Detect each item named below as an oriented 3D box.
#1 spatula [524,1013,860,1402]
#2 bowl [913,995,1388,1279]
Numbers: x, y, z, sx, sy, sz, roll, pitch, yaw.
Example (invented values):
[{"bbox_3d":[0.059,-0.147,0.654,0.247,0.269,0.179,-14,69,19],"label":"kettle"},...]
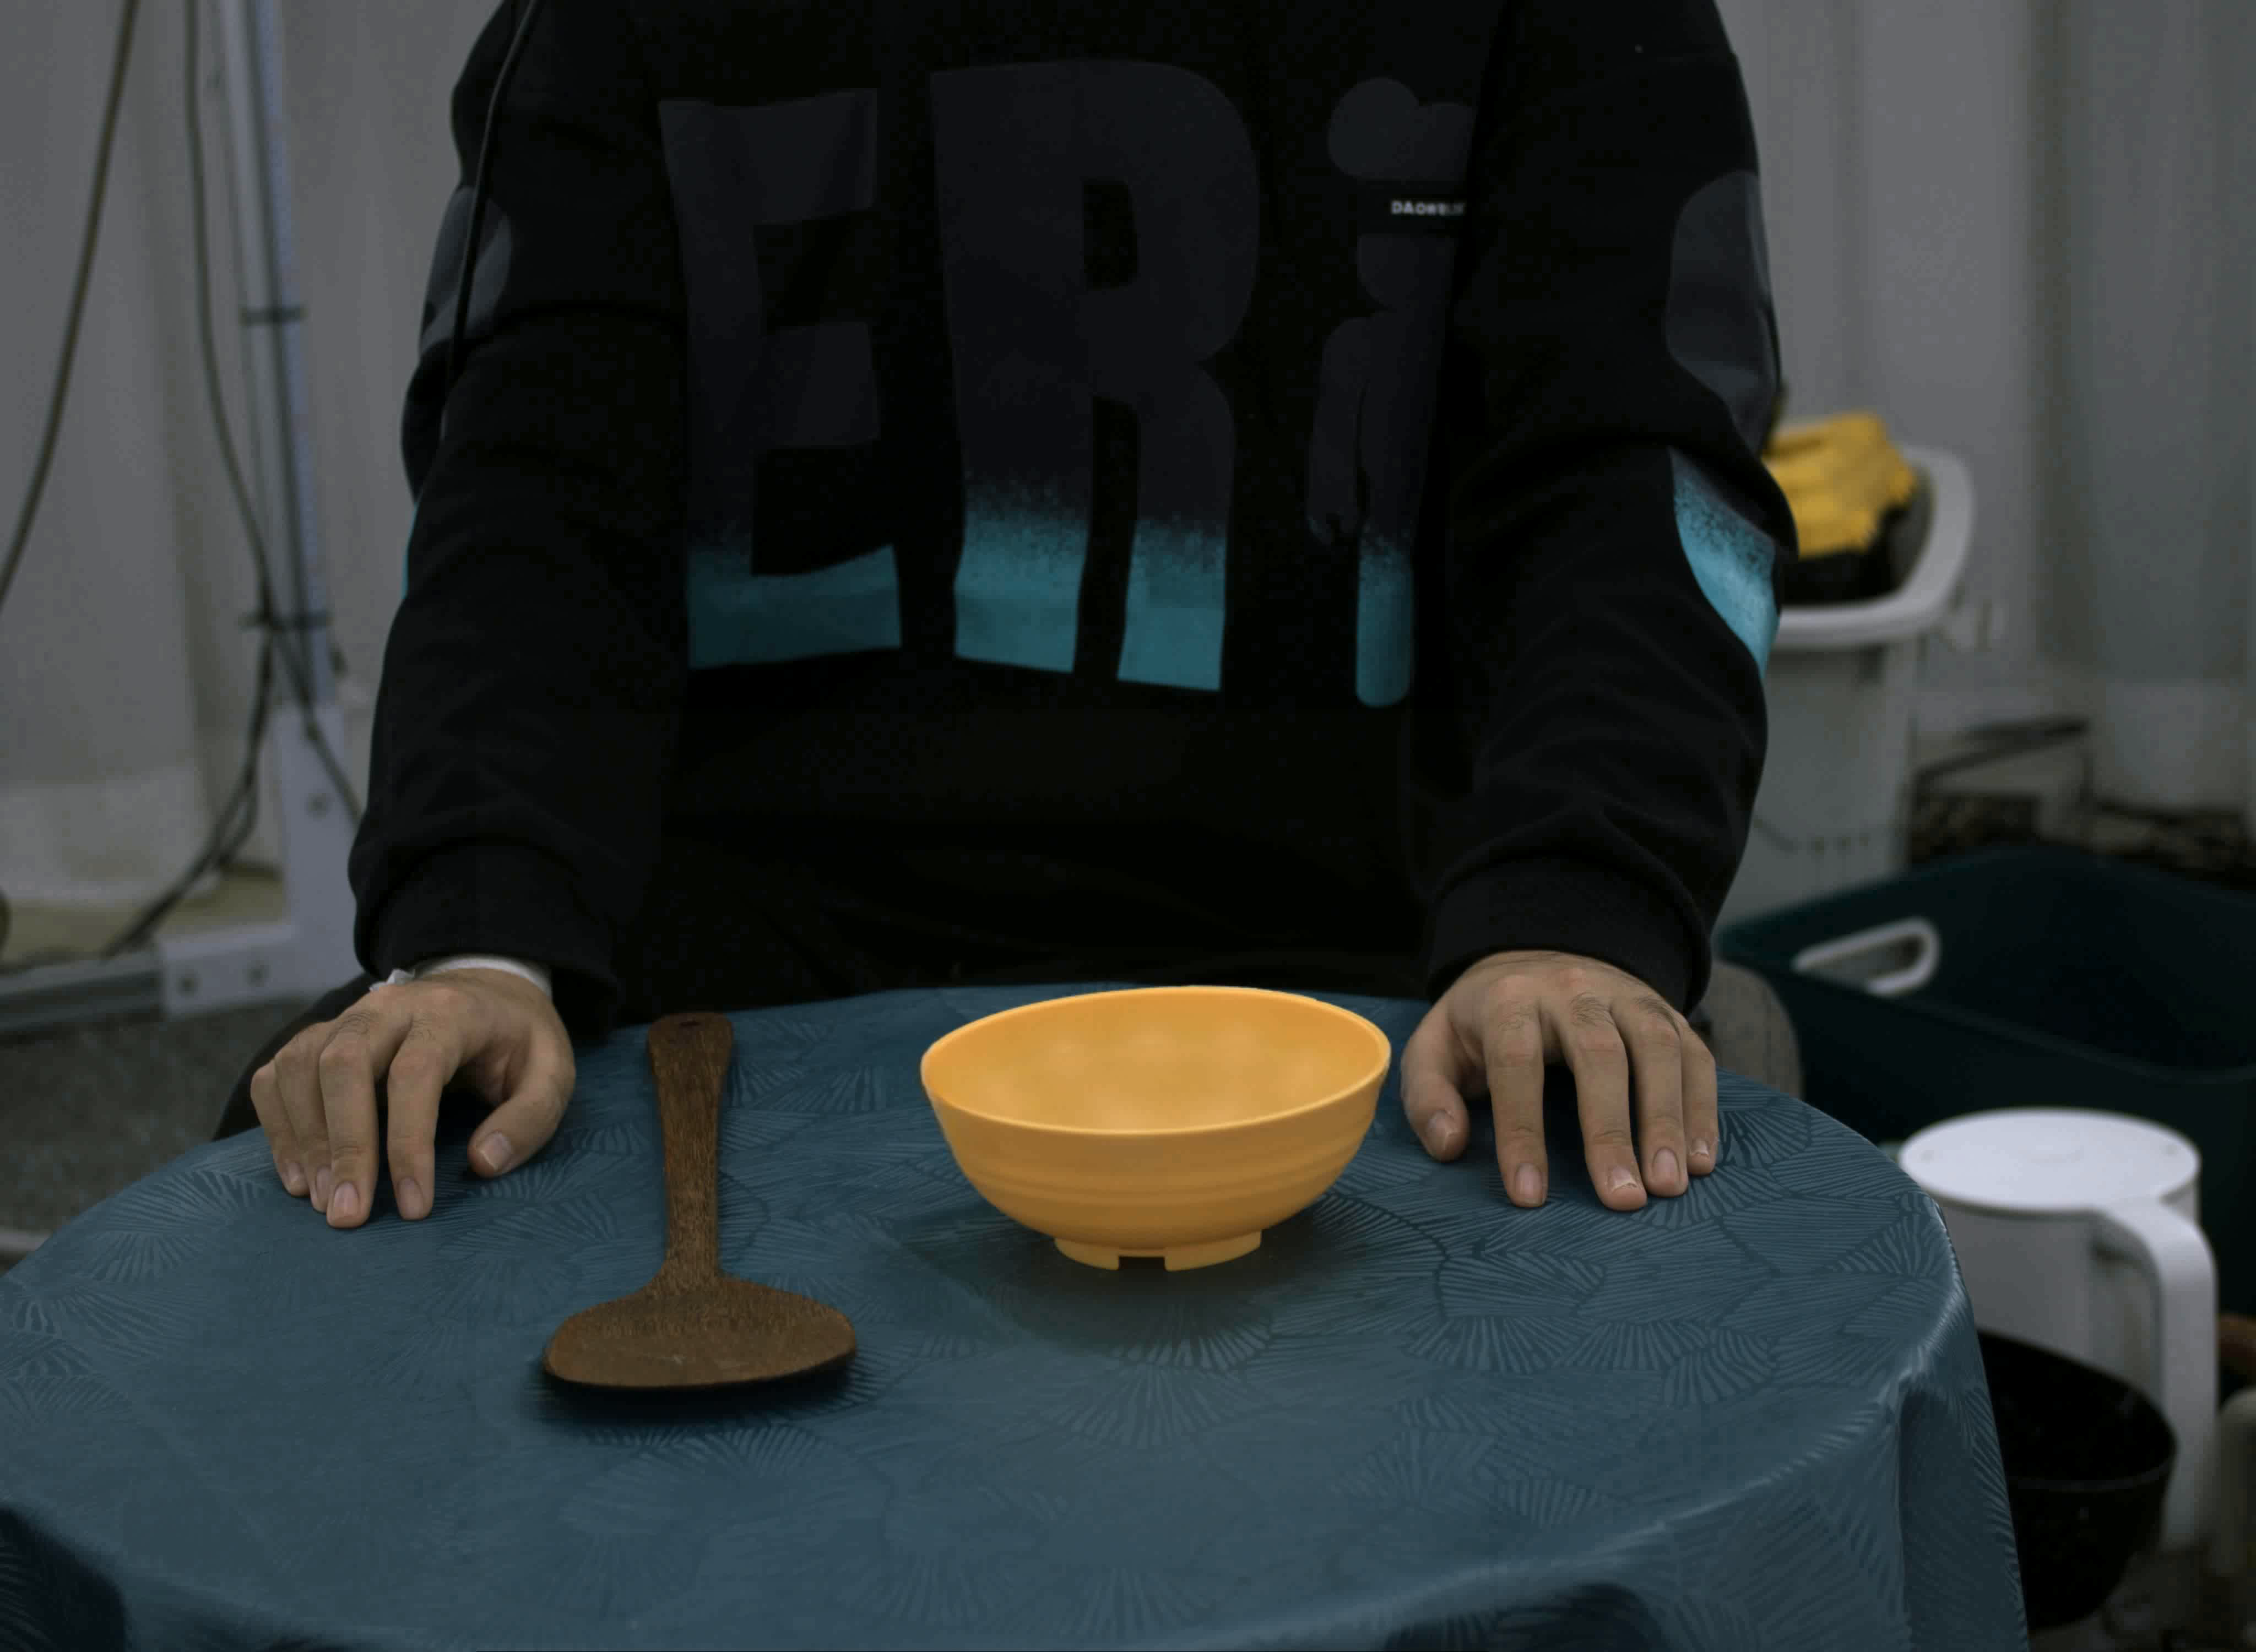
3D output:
[{"bbox_3d":[-0.138,0.114,1.719,0.096,0.016,0.389,-3,15,-4],"label":"spatula"},{"bbox_3d":[0.007,0.100,1.665,0.145,0.060,0.146,0,14,0],"label":"bowl"}]
